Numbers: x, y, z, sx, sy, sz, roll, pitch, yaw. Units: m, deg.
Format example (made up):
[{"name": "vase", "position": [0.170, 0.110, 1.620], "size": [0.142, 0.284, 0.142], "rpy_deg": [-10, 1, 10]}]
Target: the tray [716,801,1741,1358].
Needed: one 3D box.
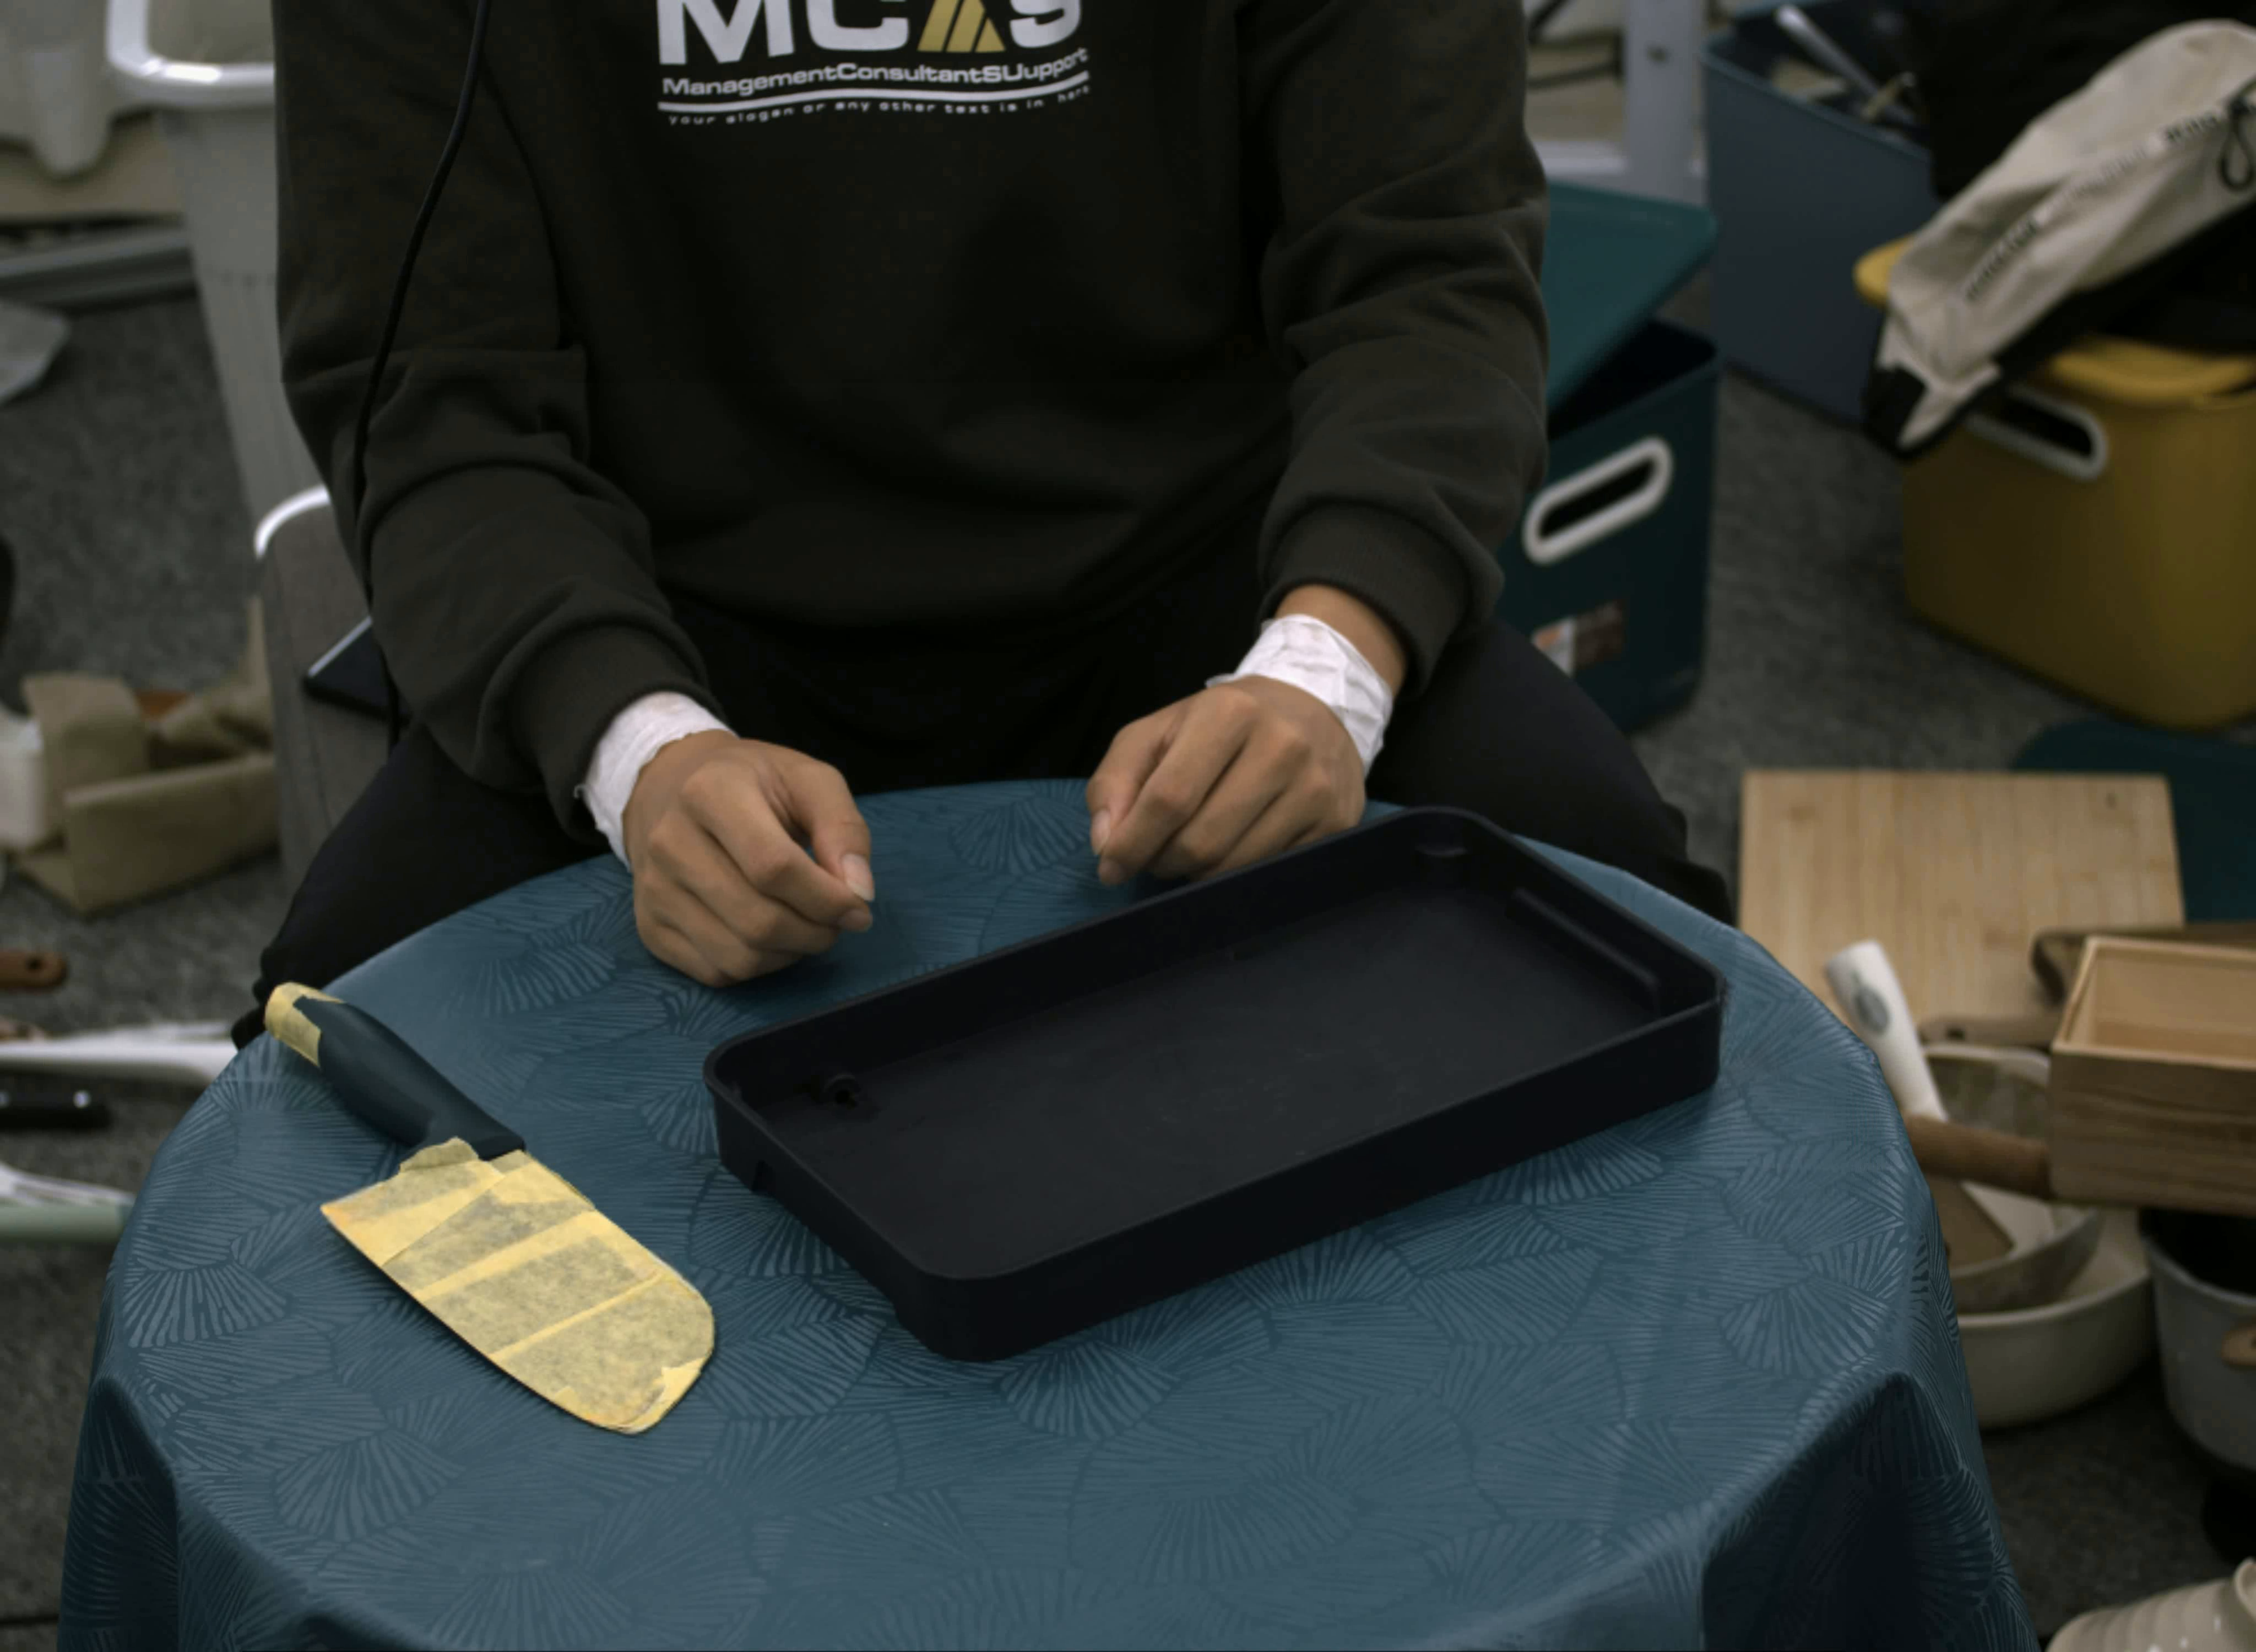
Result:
[{"name": "tray", "position": [0.035, 0.080, 1.900], "size": [0.320, 0.036, 0.185], "rpy_deg": [-19, 31, -29]}]

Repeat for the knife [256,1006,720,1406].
[{"name": "knife", "position": [-0.224, 0.127, 1.857], "size": [0.081, 0.027, 0.290], "rpy_deg": [-18, 32, -30]}]
